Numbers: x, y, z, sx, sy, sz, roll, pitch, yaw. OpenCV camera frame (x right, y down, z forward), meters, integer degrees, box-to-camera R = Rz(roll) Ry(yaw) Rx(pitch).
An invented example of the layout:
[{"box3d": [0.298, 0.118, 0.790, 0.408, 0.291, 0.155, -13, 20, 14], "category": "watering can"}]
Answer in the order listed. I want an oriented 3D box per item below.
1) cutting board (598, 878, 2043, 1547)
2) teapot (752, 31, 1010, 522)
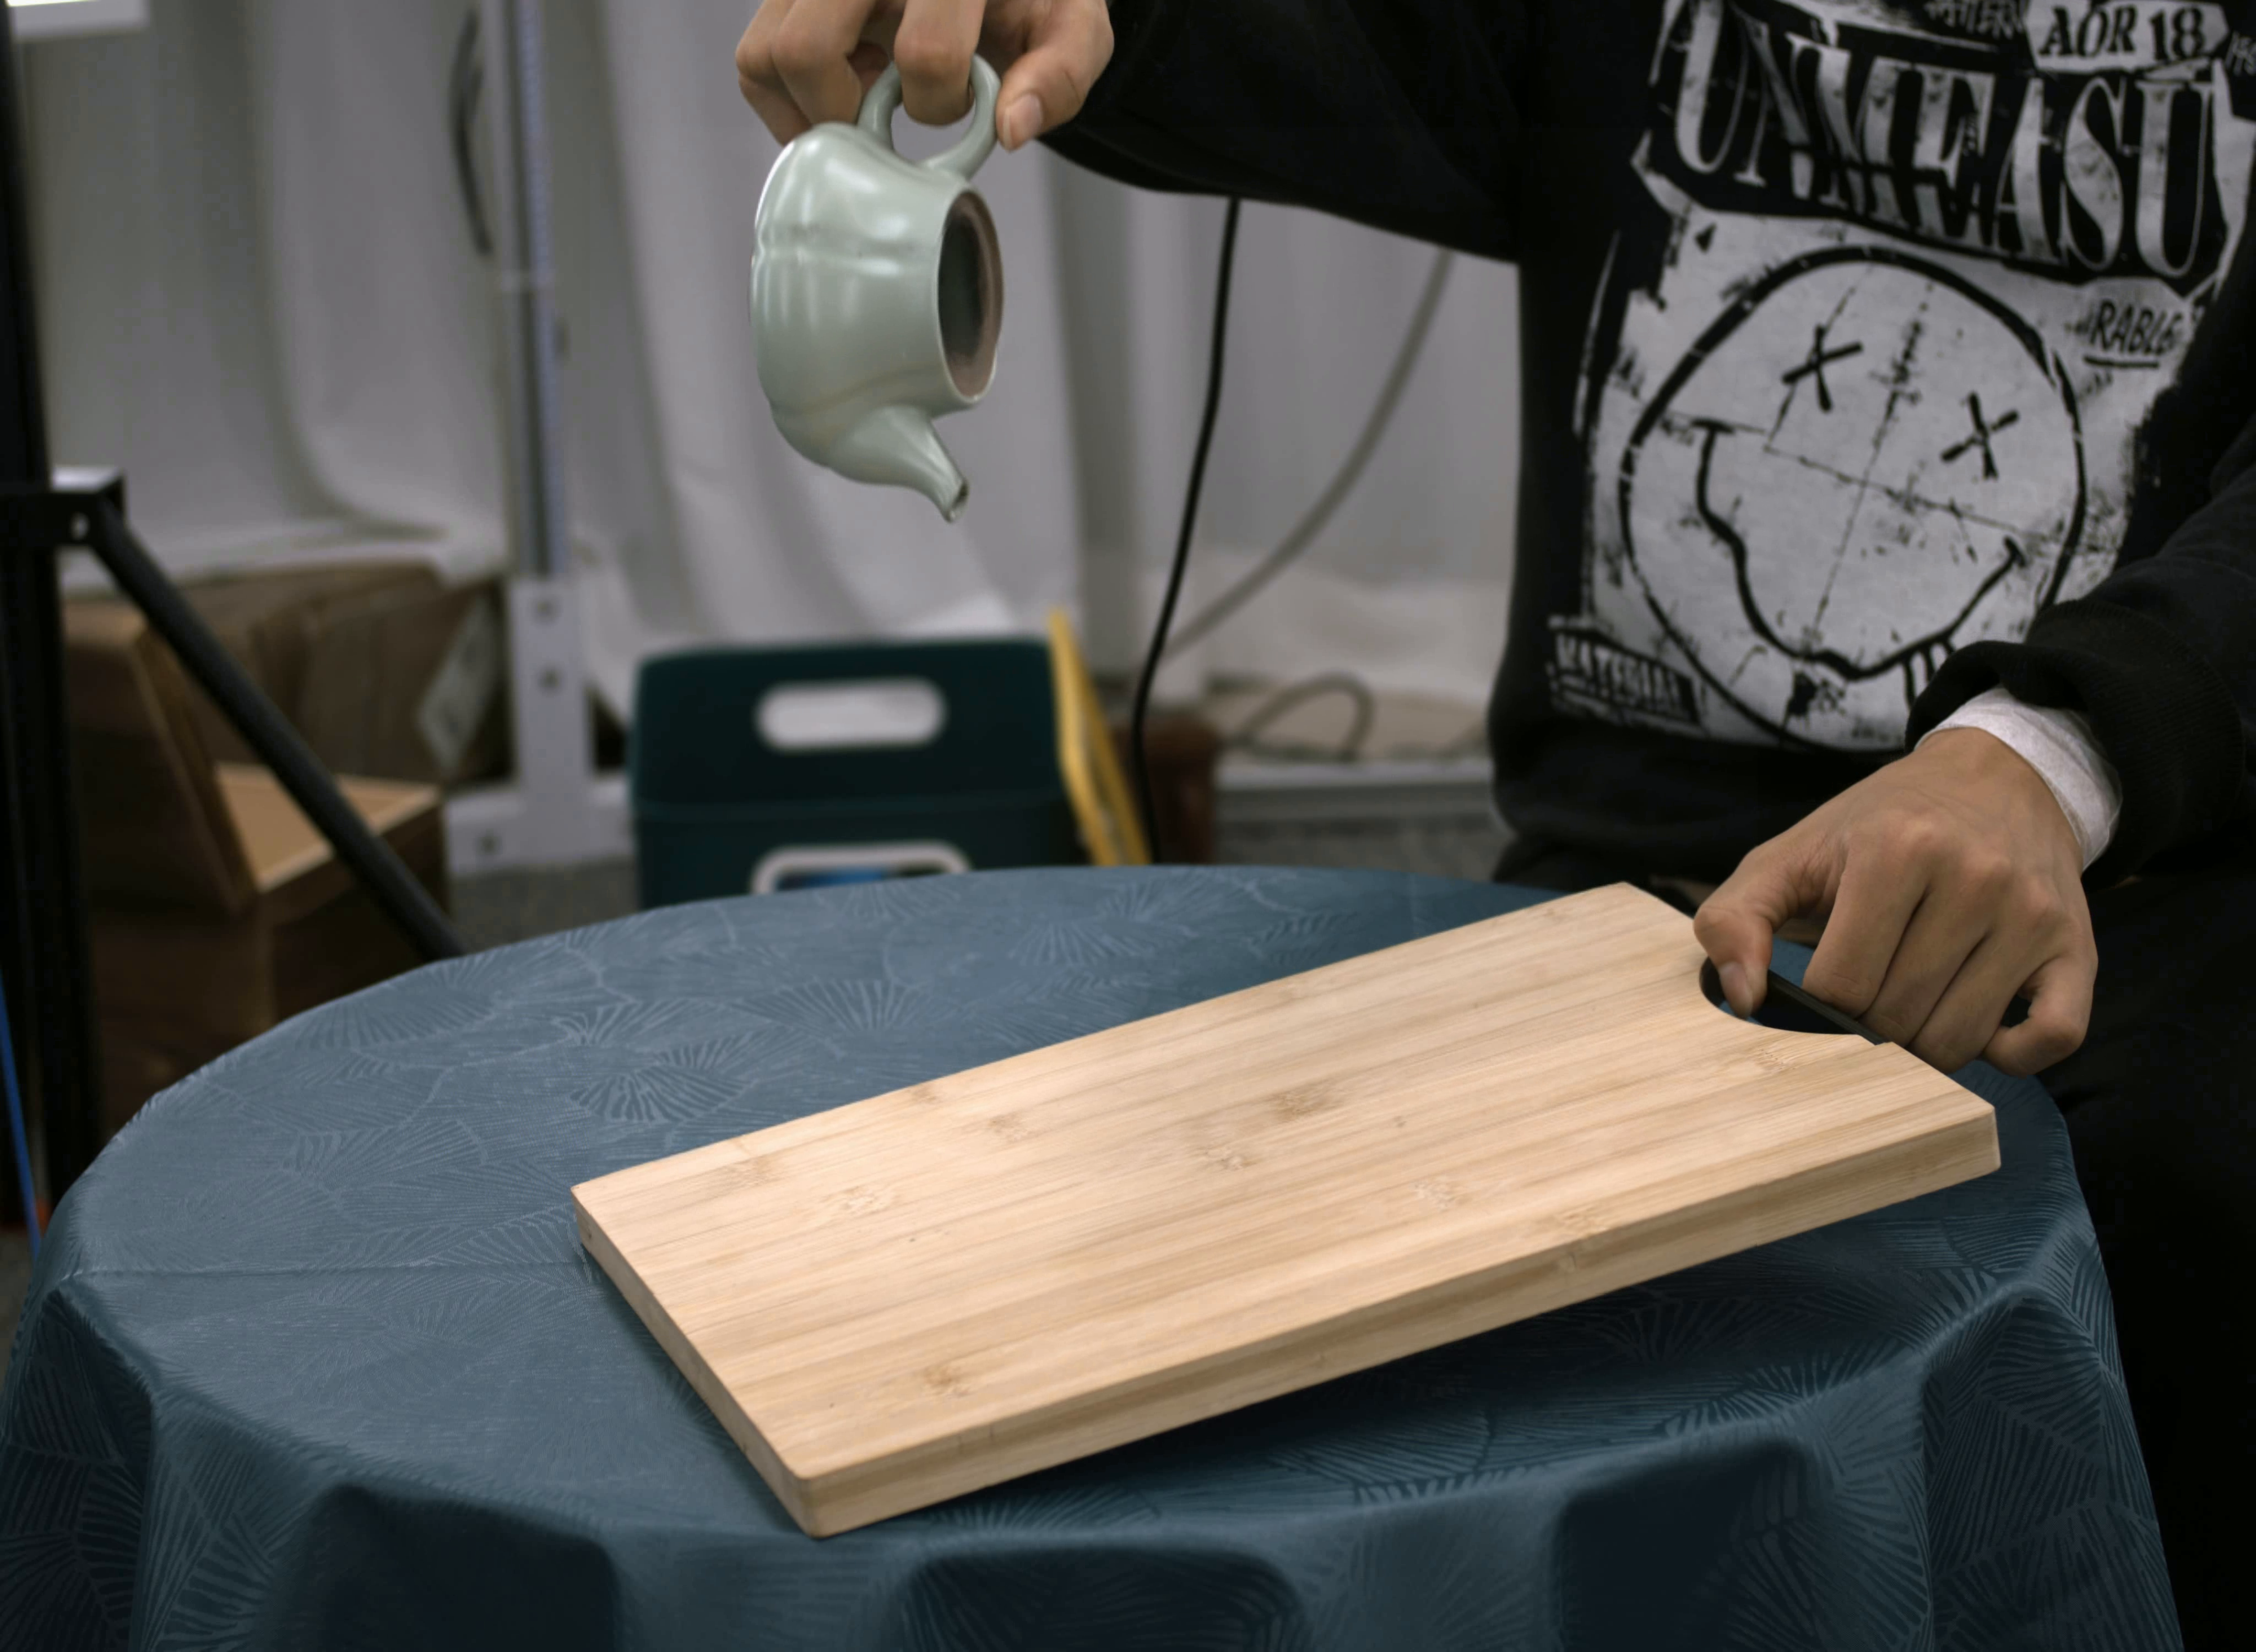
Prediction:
[{"box3d": [0.042, 0.097, 1.467, 0.343, 0.023, 0.255, -16, 19, -15], "category": "cutting board"}, {"box3d": [-0.067, -0.153, 1.483, 0.062, 0.138, 0.094, 2, -9, 18], "category": "teapot"}]
